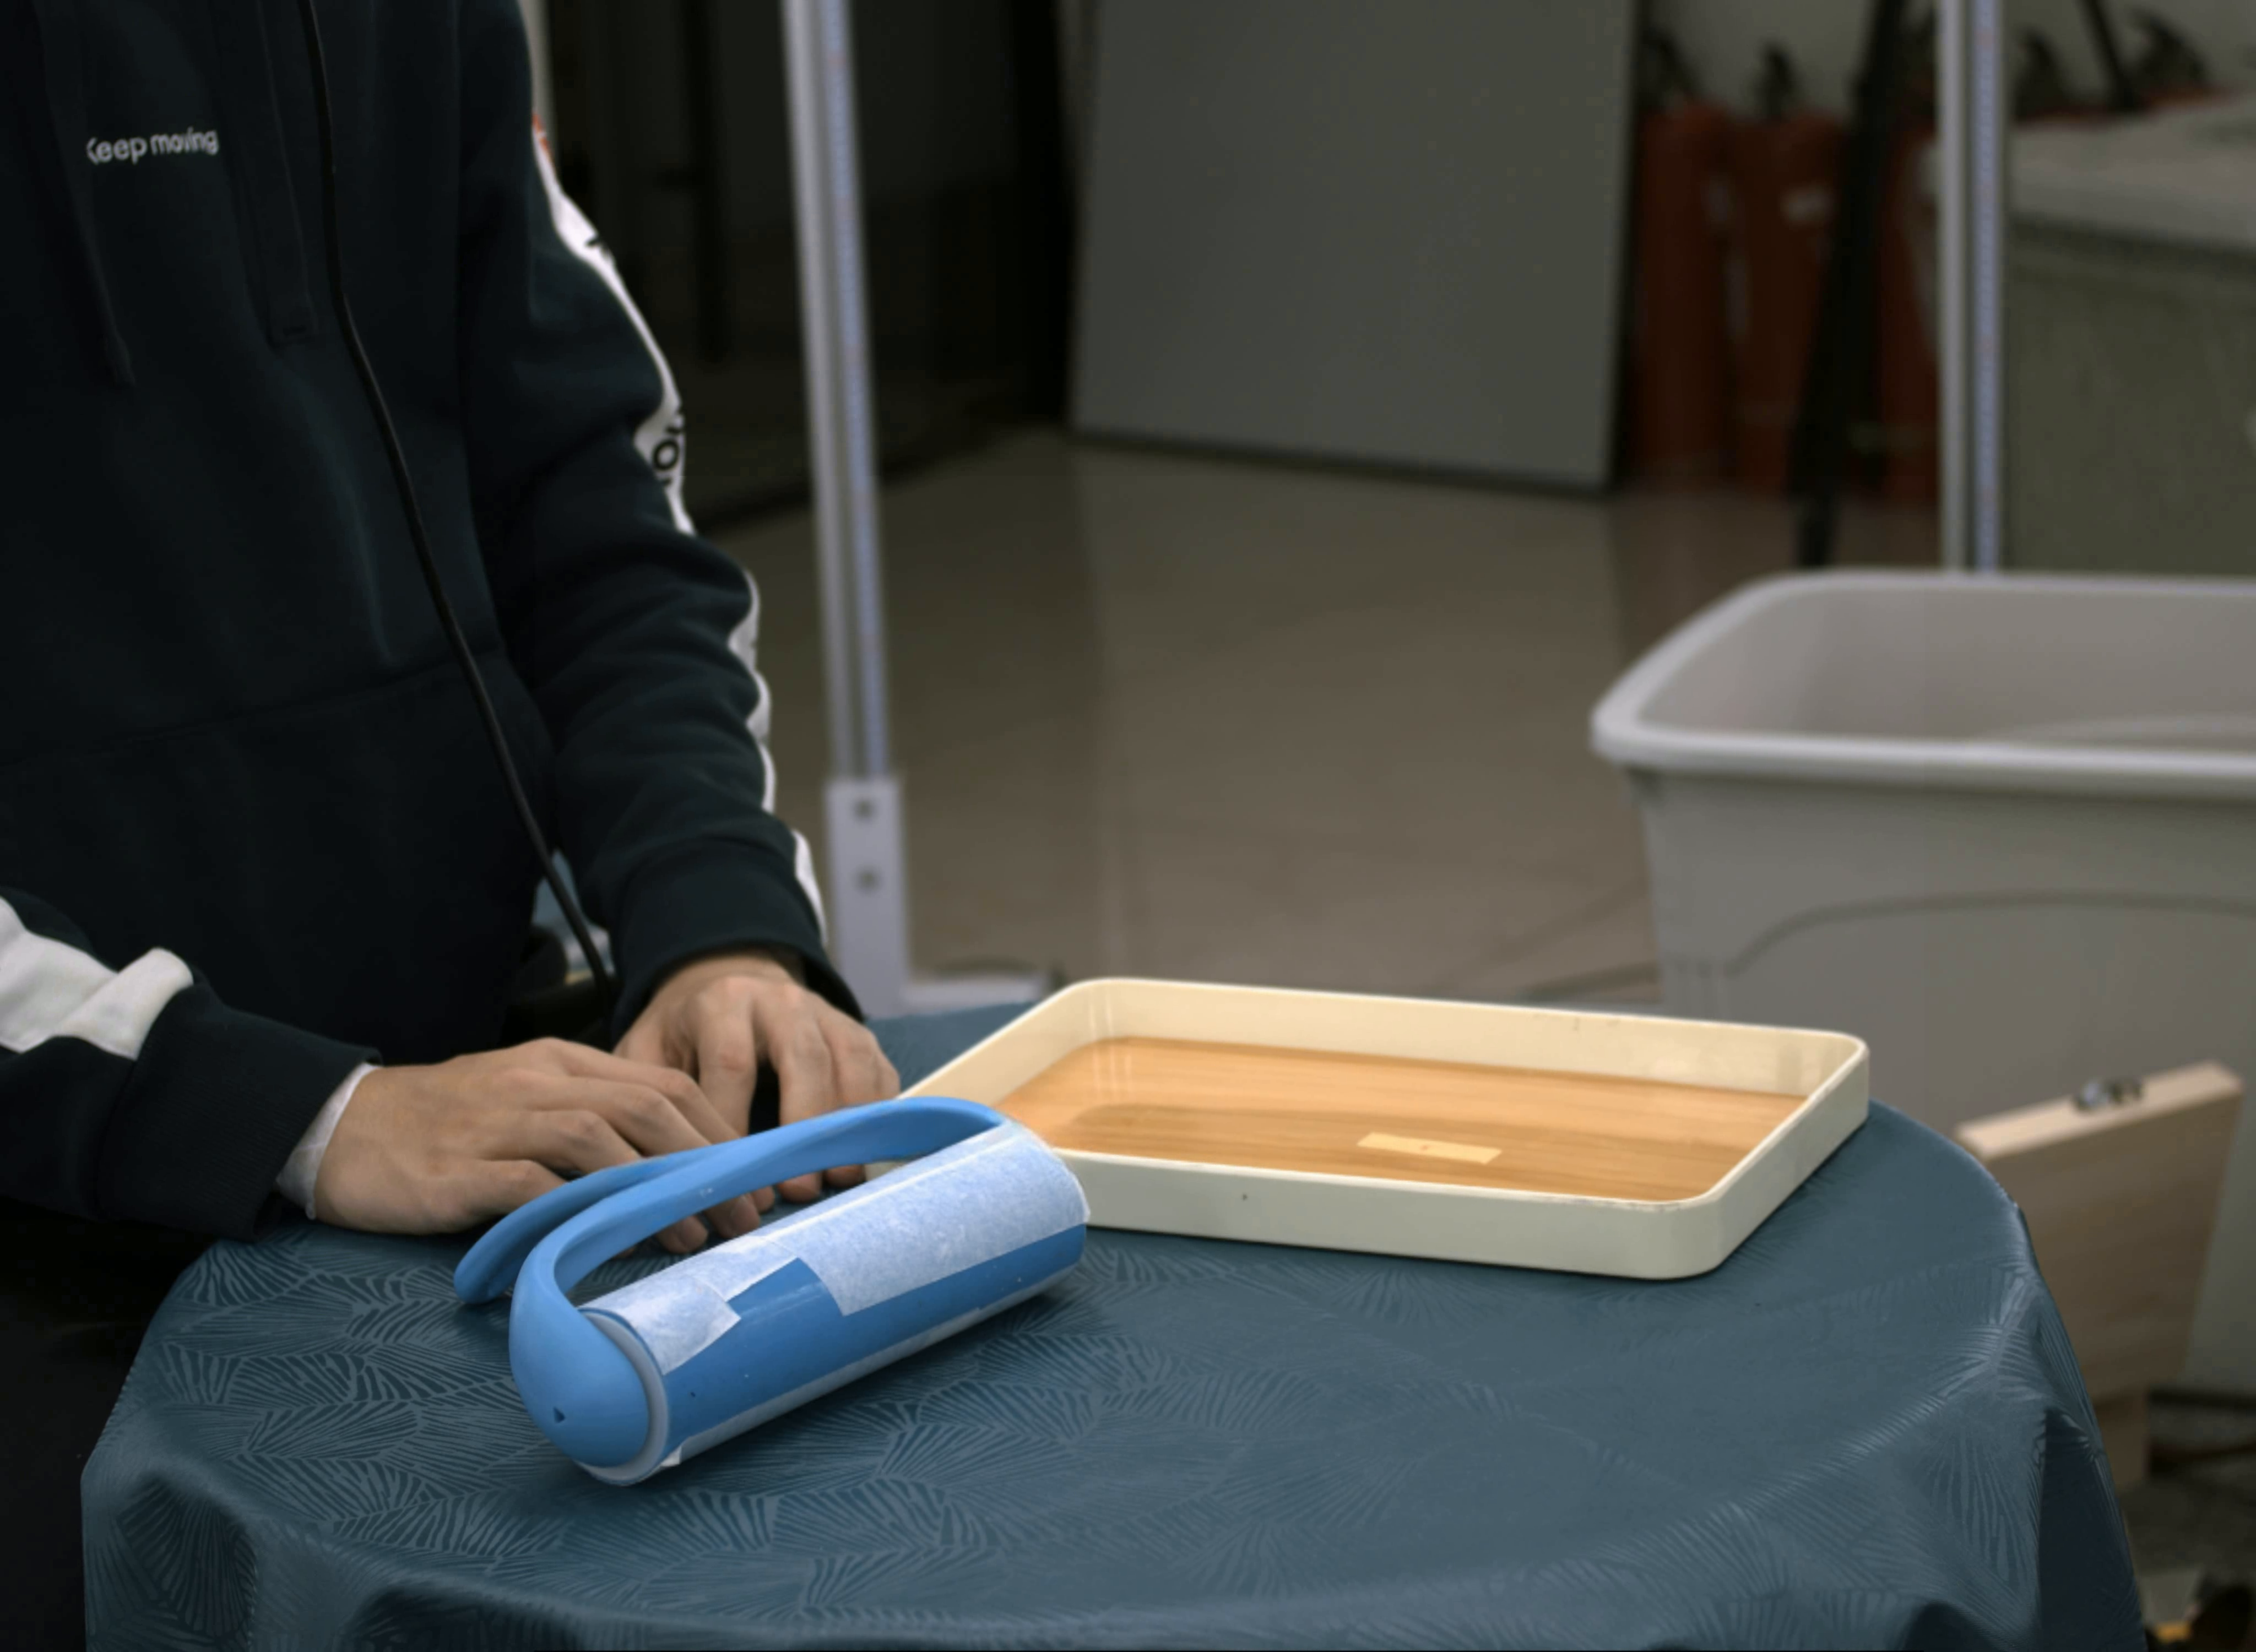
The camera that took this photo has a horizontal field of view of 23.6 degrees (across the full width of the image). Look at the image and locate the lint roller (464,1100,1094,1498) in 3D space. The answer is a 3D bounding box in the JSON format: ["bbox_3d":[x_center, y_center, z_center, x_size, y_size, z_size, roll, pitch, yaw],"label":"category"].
[{"bbox_3d":[-0.135,0.135,1.639,0.181,0.068,0.225,6,19,34],"label":"lint roller"}]

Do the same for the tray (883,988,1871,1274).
[{"bbox_3d":[0.081,0.099,1.784,0.301,0.028,0.189,3,15,27],"label":"tray"}]
